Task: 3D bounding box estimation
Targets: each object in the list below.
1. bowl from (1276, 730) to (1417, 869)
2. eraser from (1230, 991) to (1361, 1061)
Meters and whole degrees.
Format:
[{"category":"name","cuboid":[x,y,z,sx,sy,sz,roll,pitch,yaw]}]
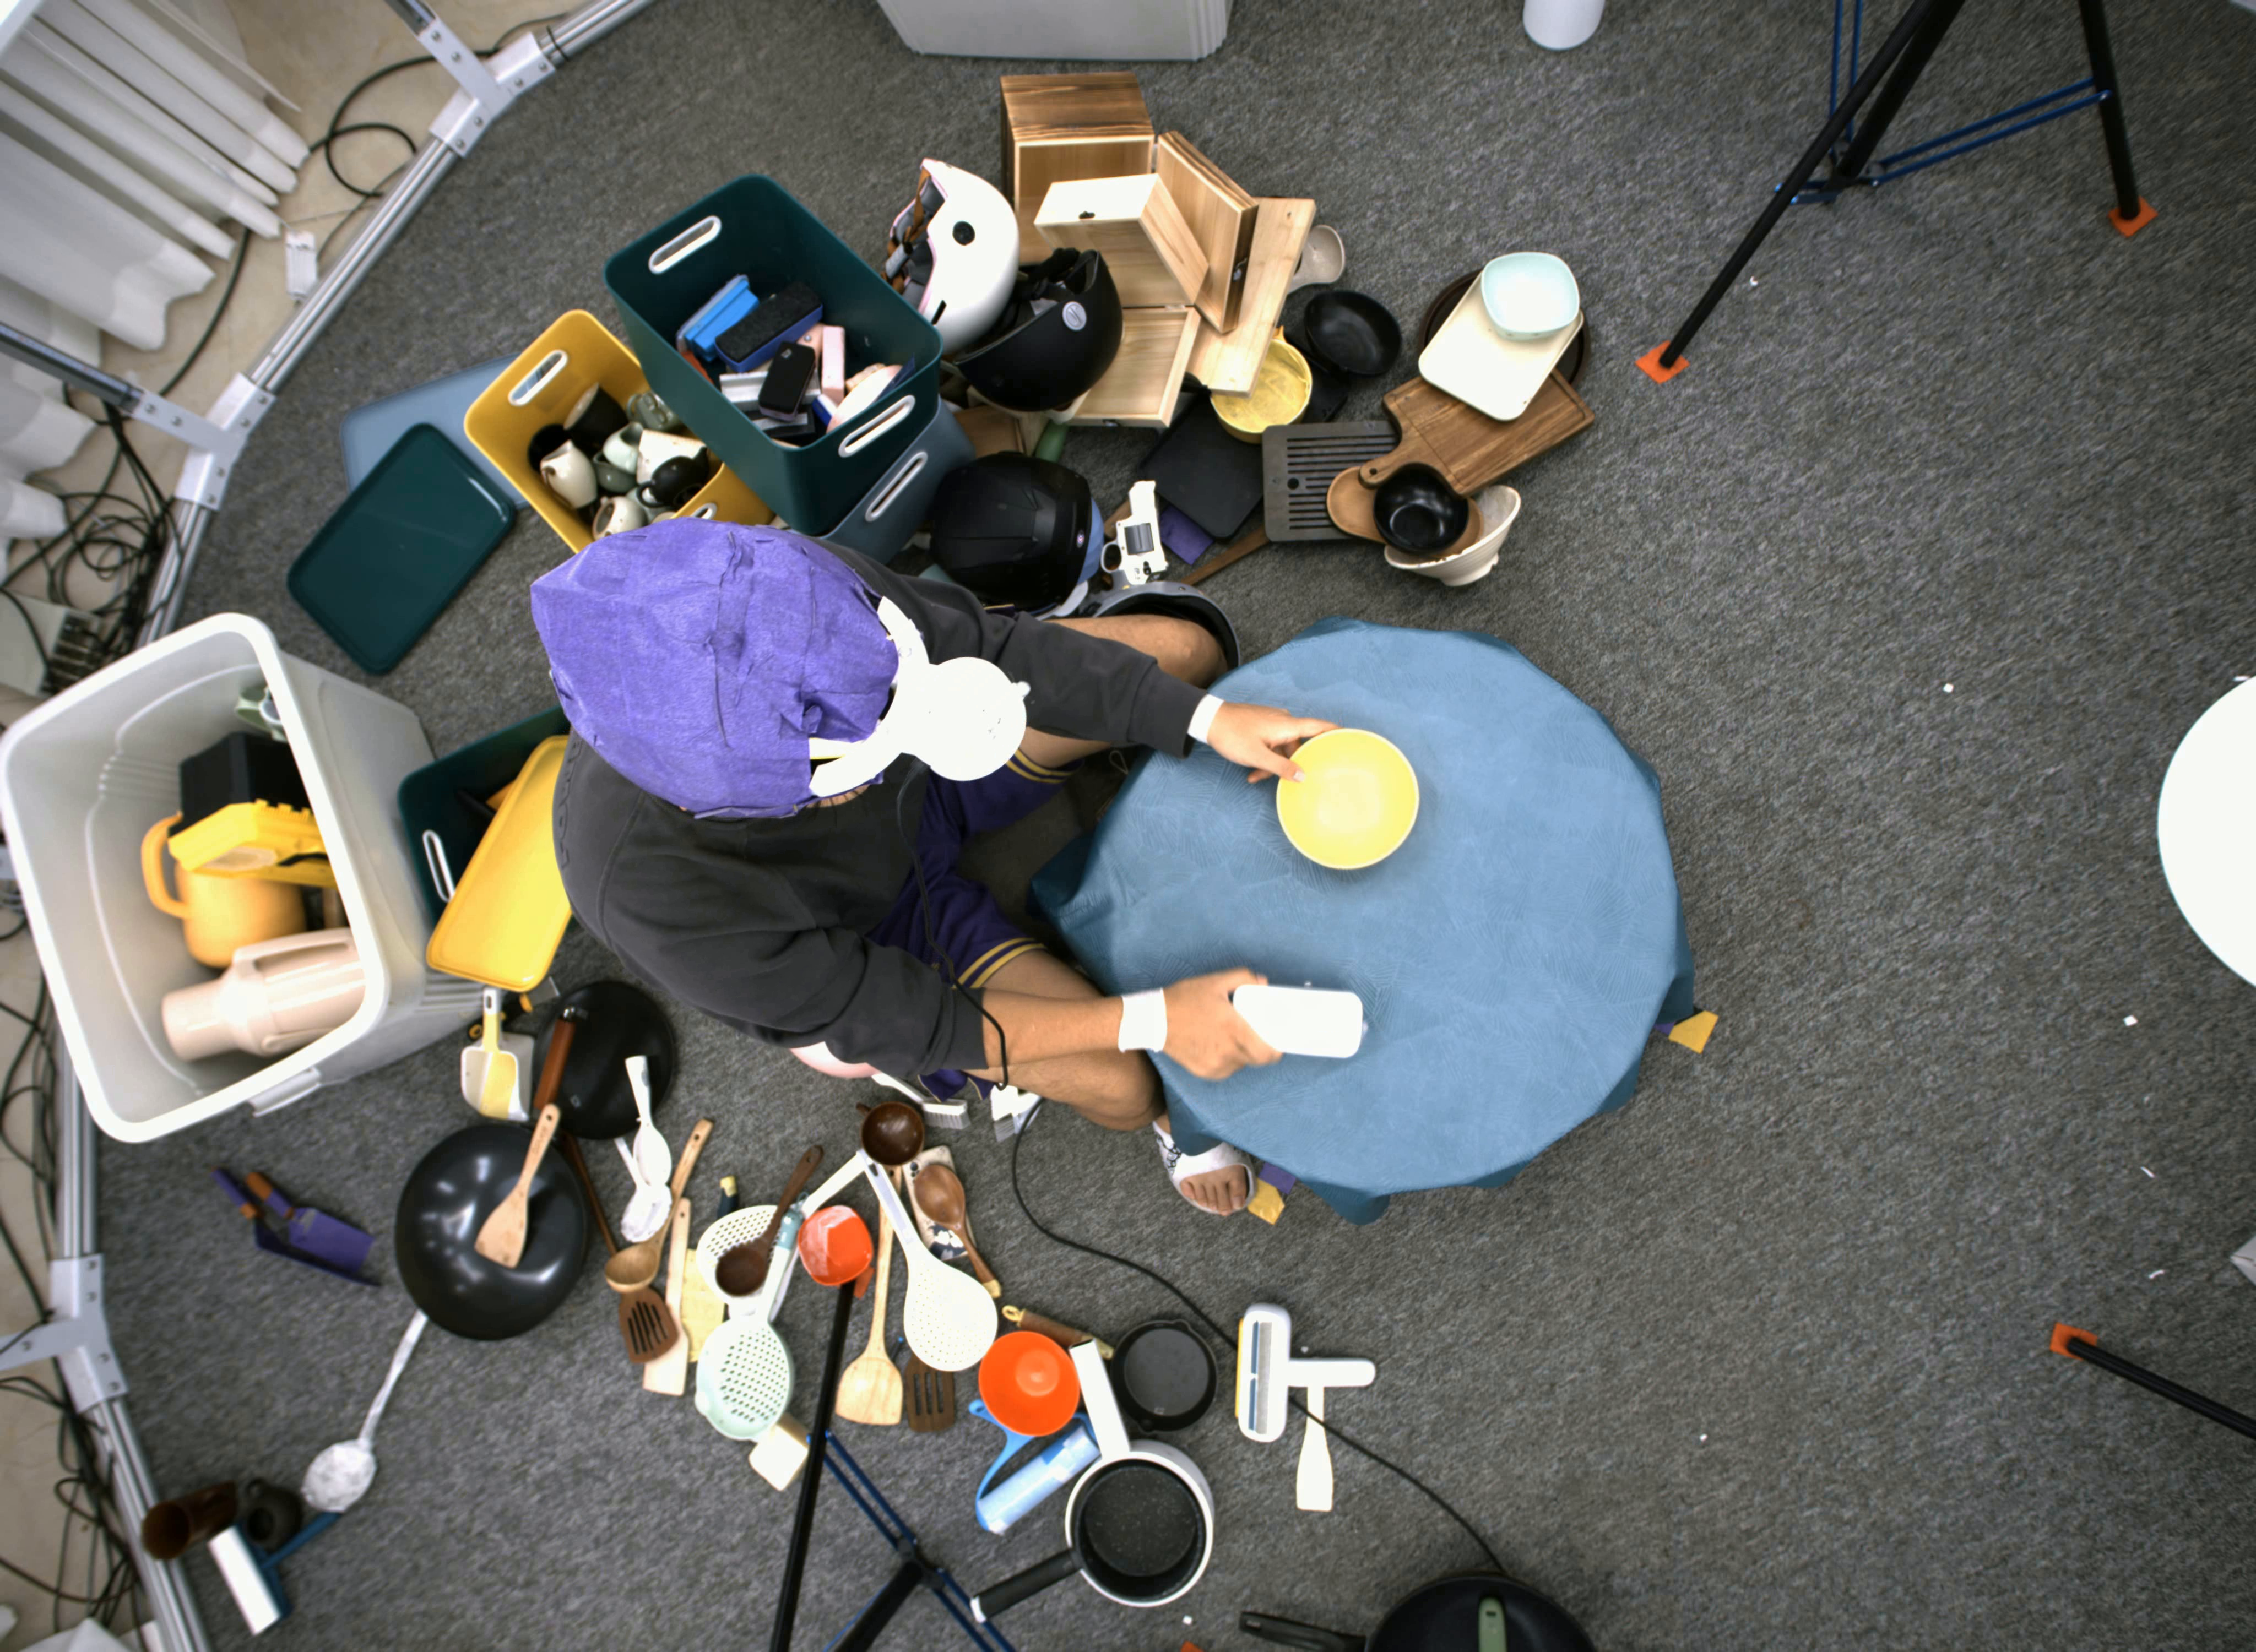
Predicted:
[{"category":"bowl","cuboid":[0.229,-0.025,1.445,0.146,0.060,0.144,-1,85,12]},{"category":"eraser","cuboid":[0.171,0.202,1.423,0.131,0.034,0.064,6,100,6]}]
